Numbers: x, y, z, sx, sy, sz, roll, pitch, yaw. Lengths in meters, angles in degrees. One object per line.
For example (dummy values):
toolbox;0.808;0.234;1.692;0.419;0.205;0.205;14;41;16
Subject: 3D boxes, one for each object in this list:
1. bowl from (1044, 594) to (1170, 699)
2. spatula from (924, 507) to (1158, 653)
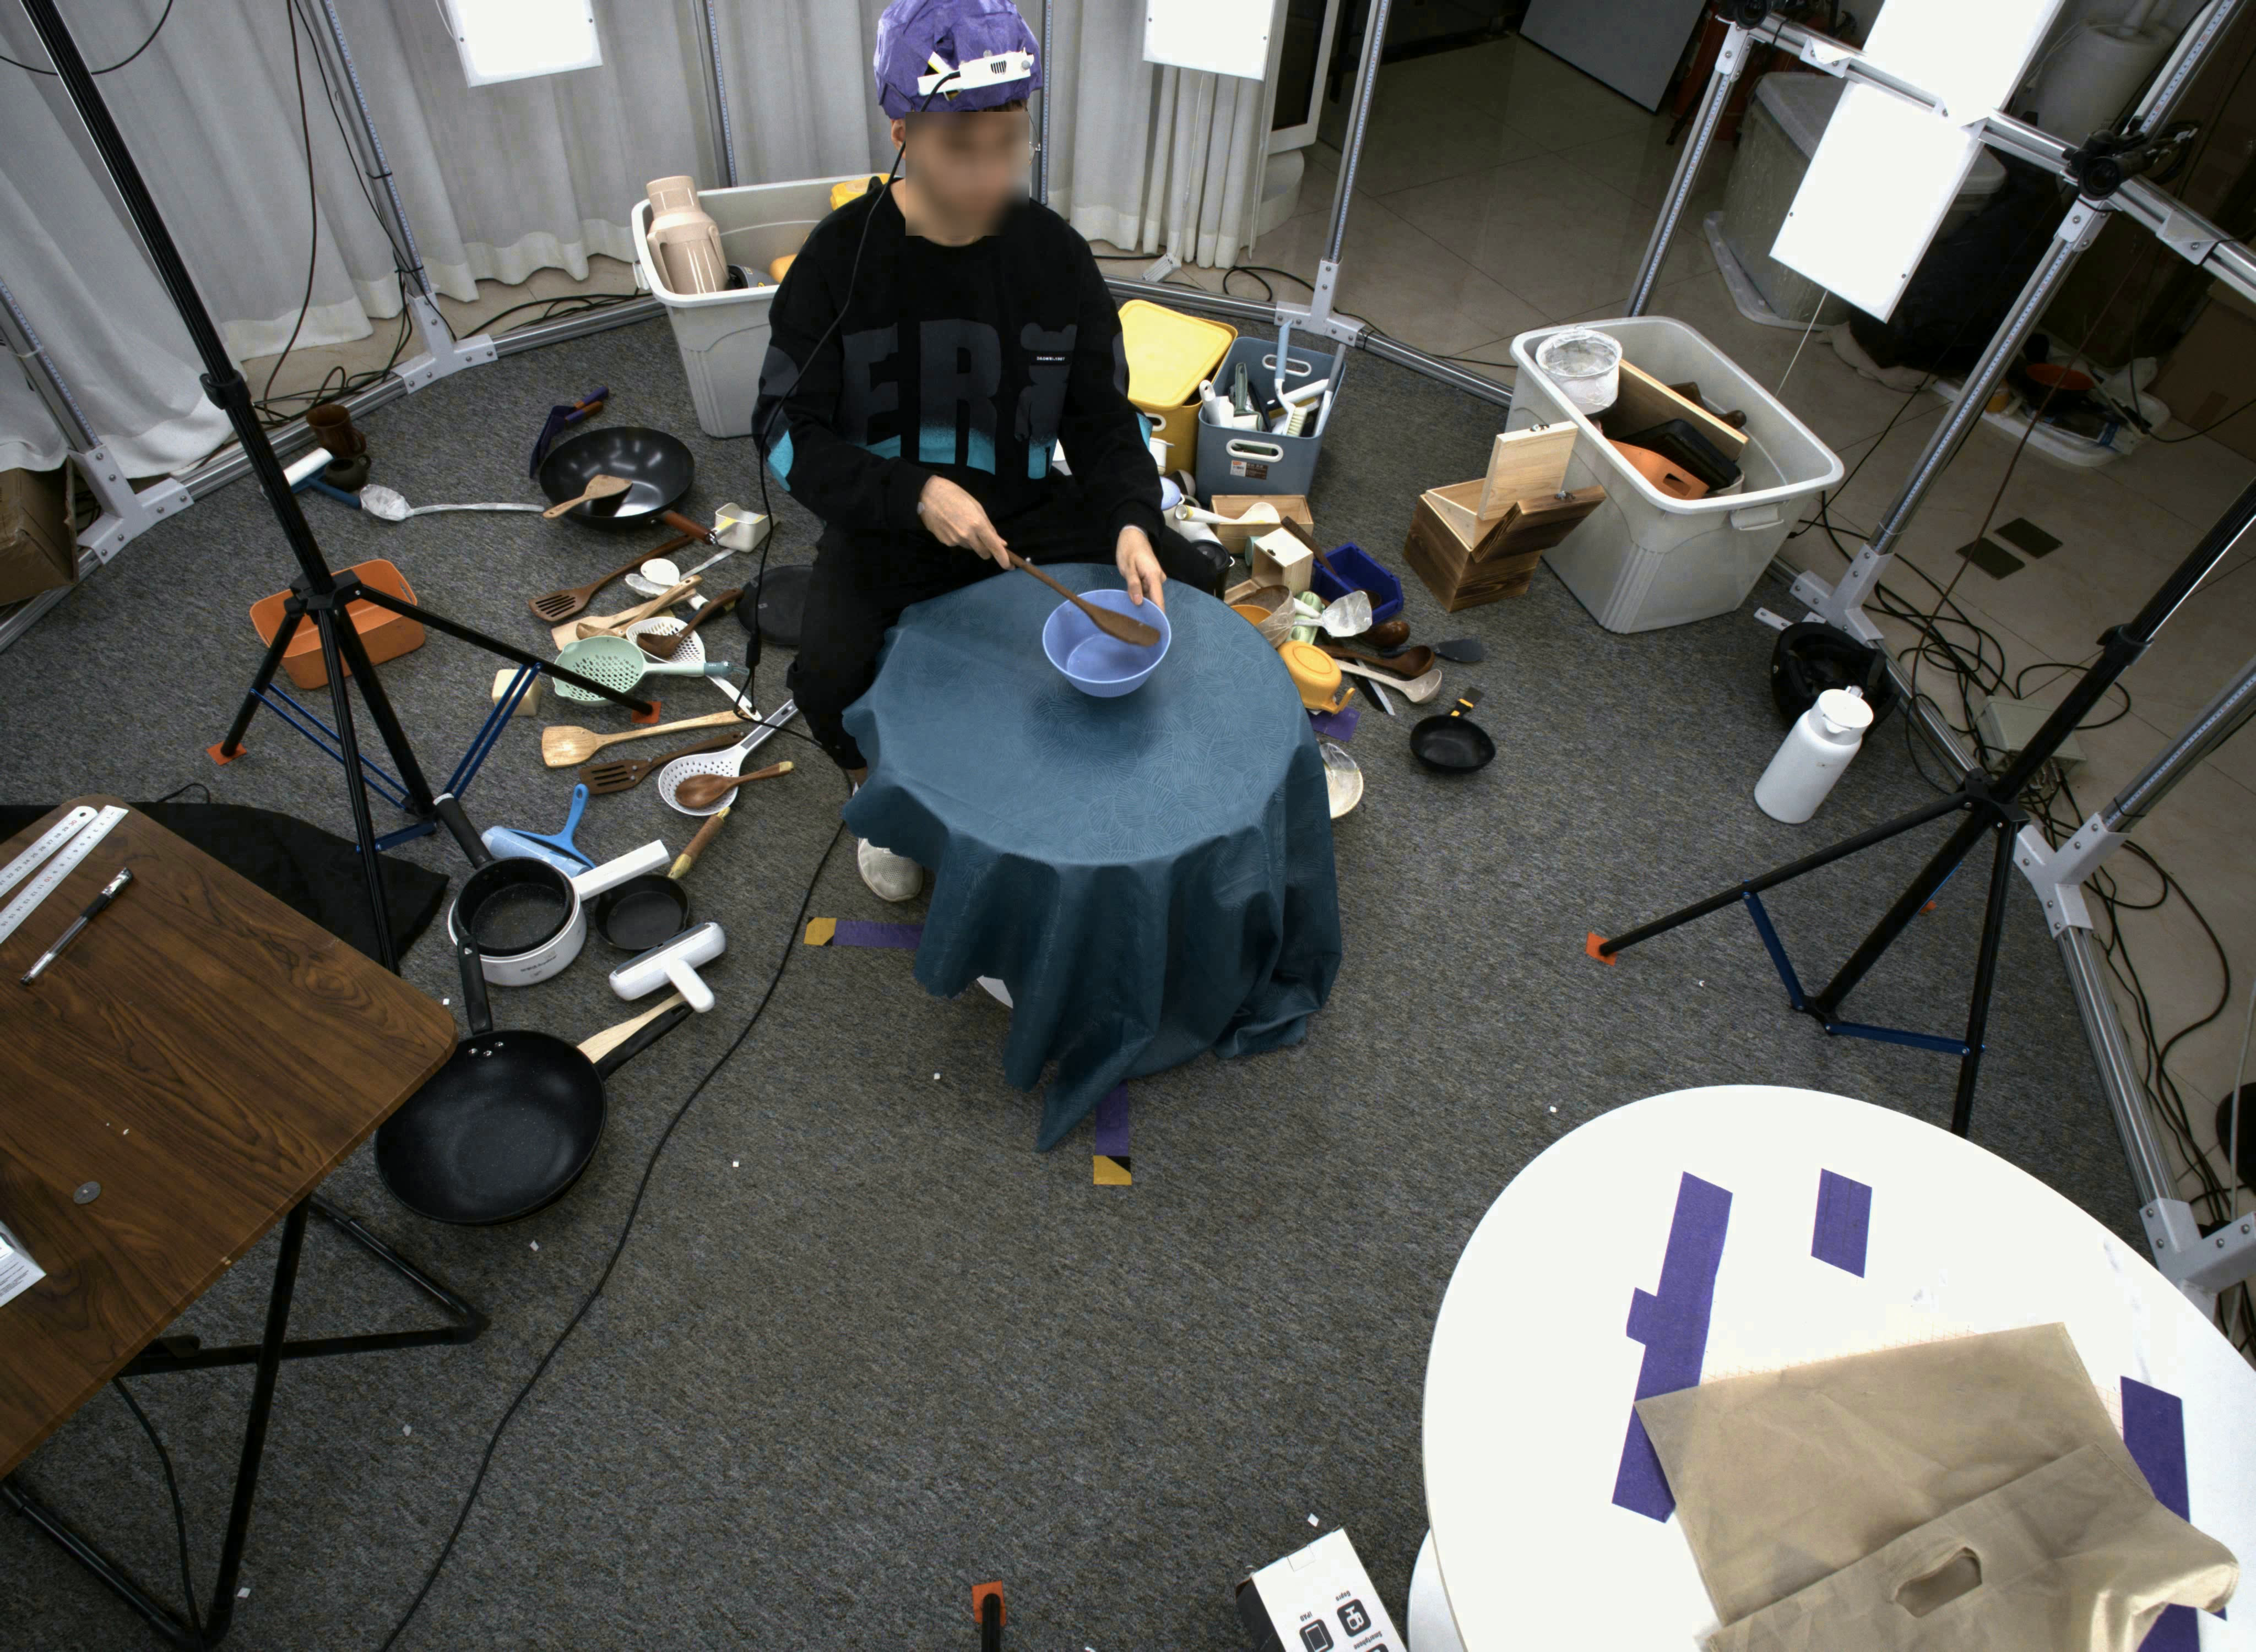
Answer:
bowl;-0.028;-0.242;1.804;0.176;0.068;0.180;-2;51;2
spatula;-0.125;-0.347;1.800;0.388;0.015;0.097;34;27;8
